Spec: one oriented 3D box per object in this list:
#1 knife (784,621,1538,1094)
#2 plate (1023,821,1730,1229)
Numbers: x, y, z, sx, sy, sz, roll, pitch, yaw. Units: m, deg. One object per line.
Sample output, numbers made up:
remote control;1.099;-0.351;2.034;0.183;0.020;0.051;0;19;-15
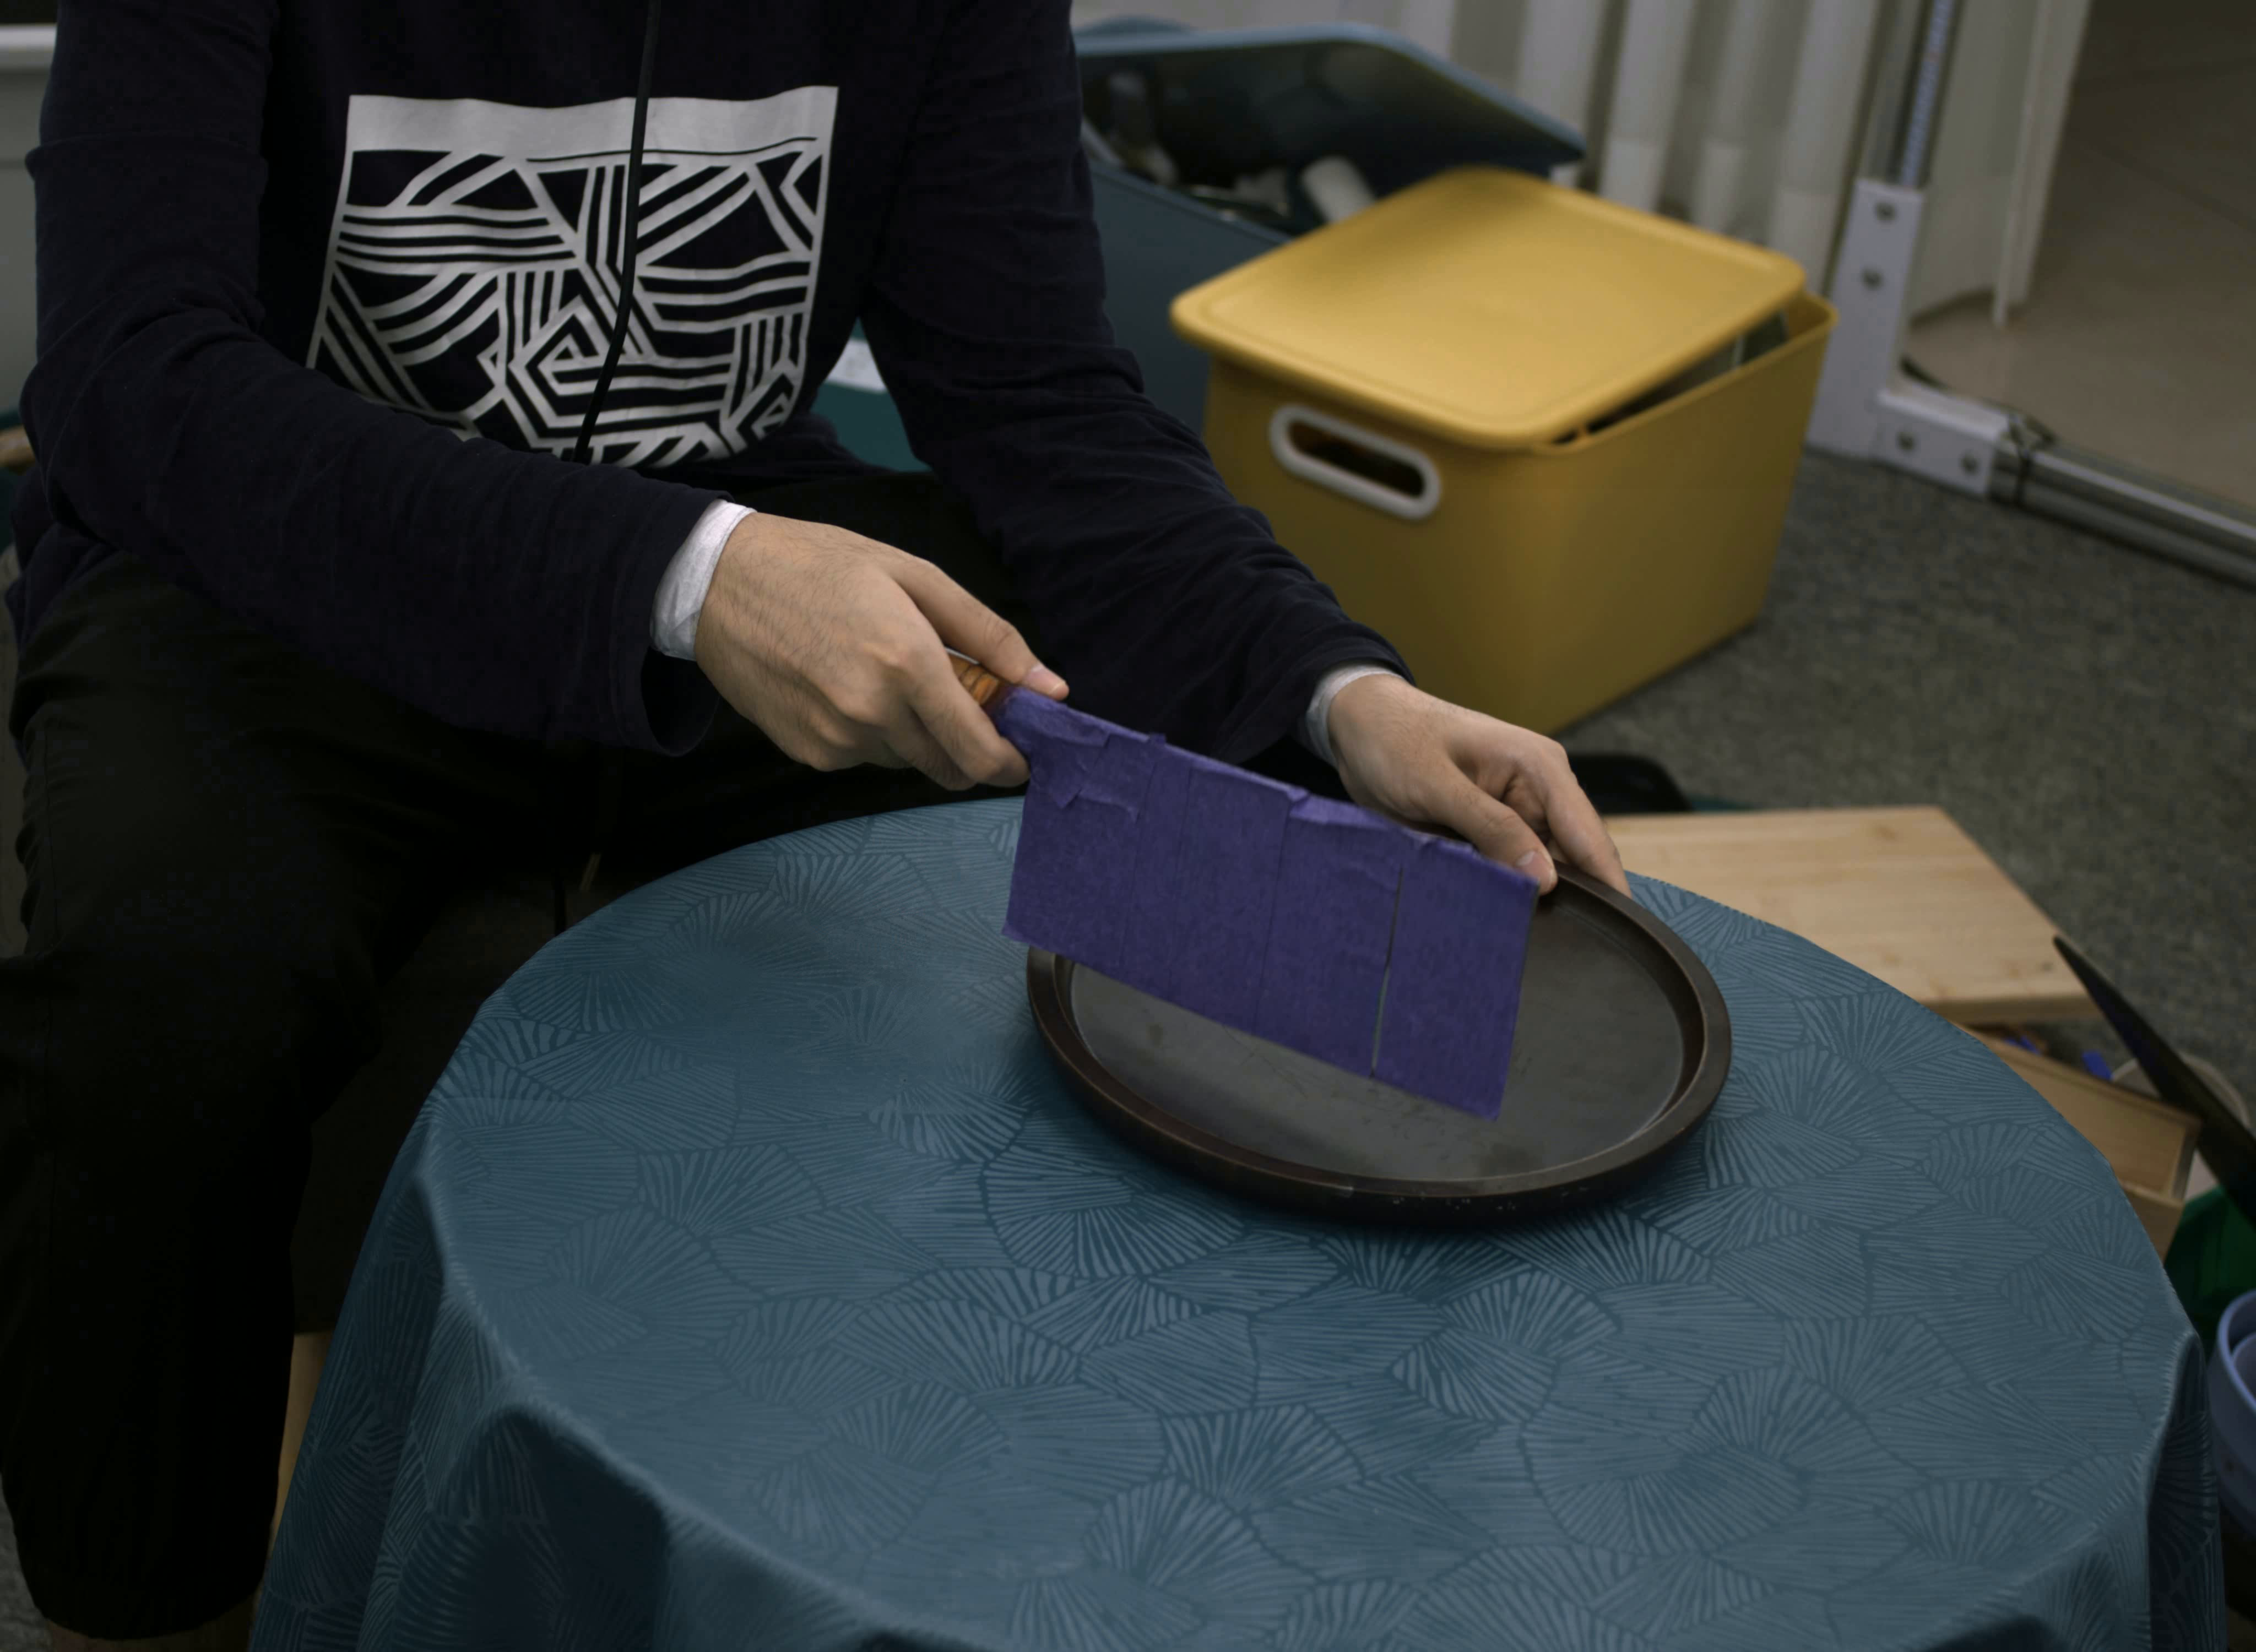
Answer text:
knife;0.003;0.012;1.856;0.317;0.104;0.032;20;19;33
plate;0.087;0.068;1.894;0.254;0.029;0.256;4;31;-3
